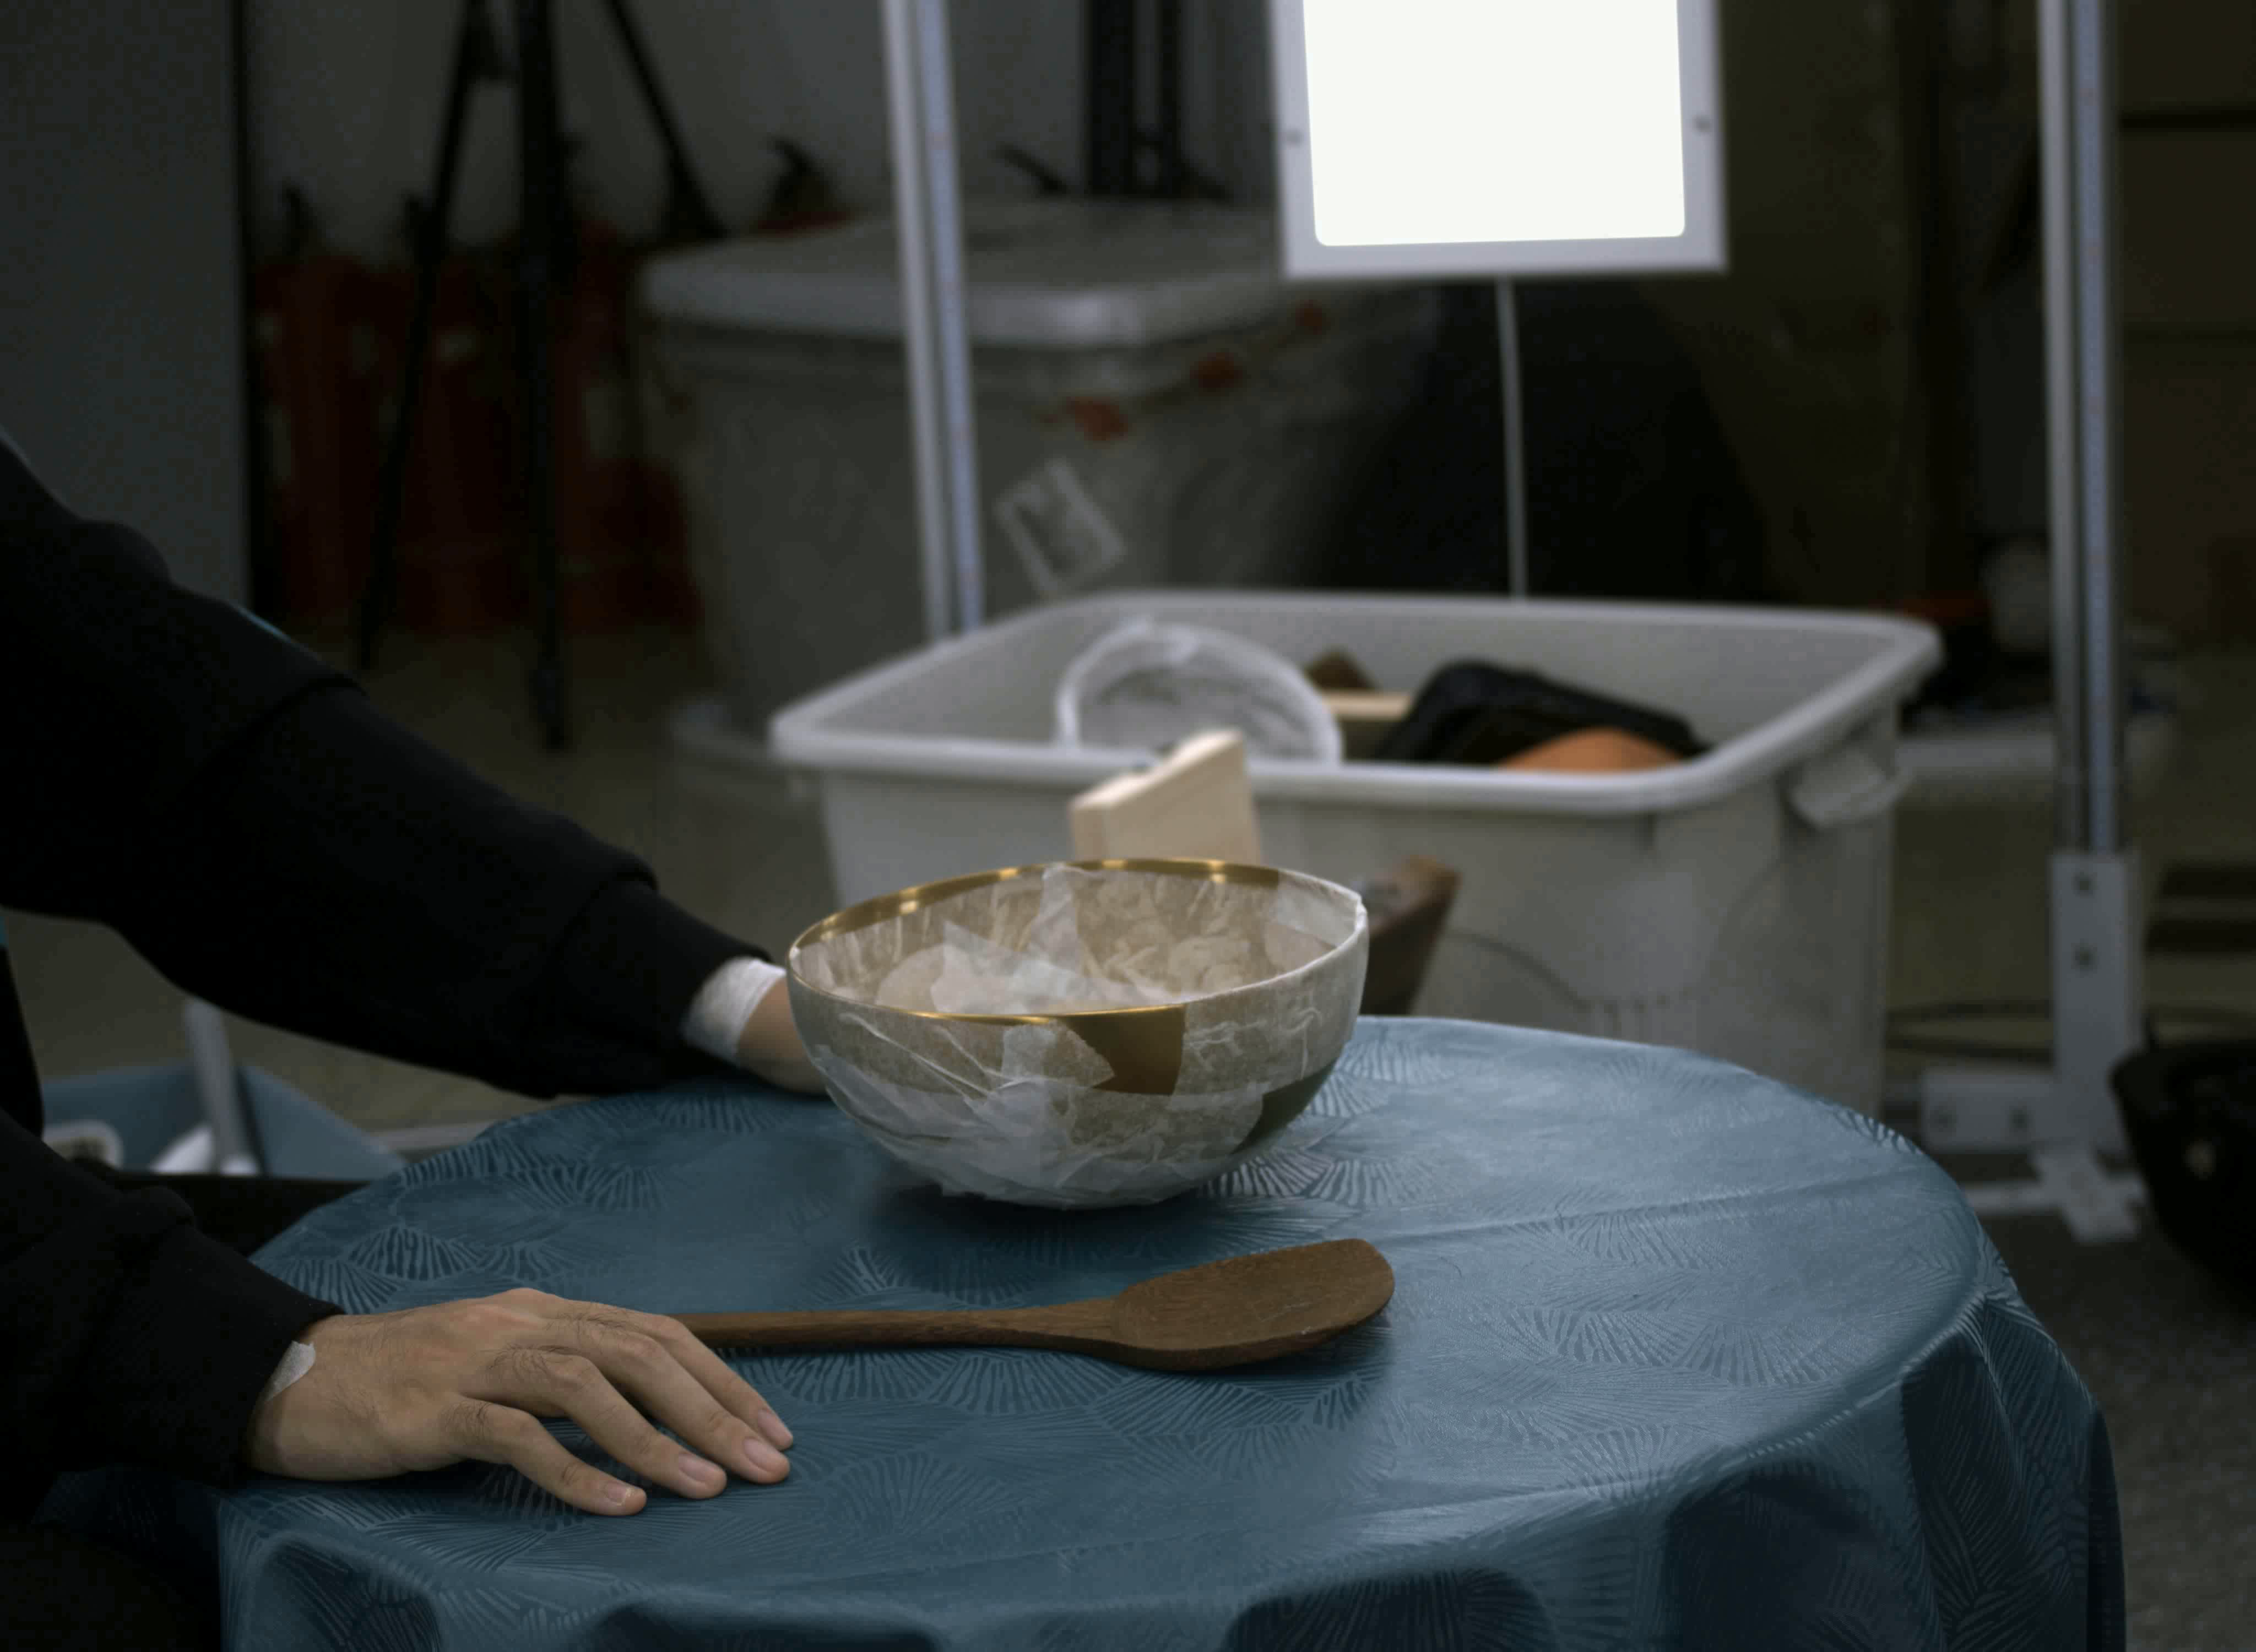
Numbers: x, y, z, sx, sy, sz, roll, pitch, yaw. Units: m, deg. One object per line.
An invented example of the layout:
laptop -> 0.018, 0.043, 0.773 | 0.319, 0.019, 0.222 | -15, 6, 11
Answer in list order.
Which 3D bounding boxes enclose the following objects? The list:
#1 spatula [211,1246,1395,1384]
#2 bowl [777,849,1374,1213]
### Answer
spatula -> -0.106, 0.161, 1.766 | 0.387, 0.016, 0.095 | -3, 13, 8
bowl -> -0.015, 0.078, 1.904 | 0.214, 0.095, 0.214 | -6, 15, 0
